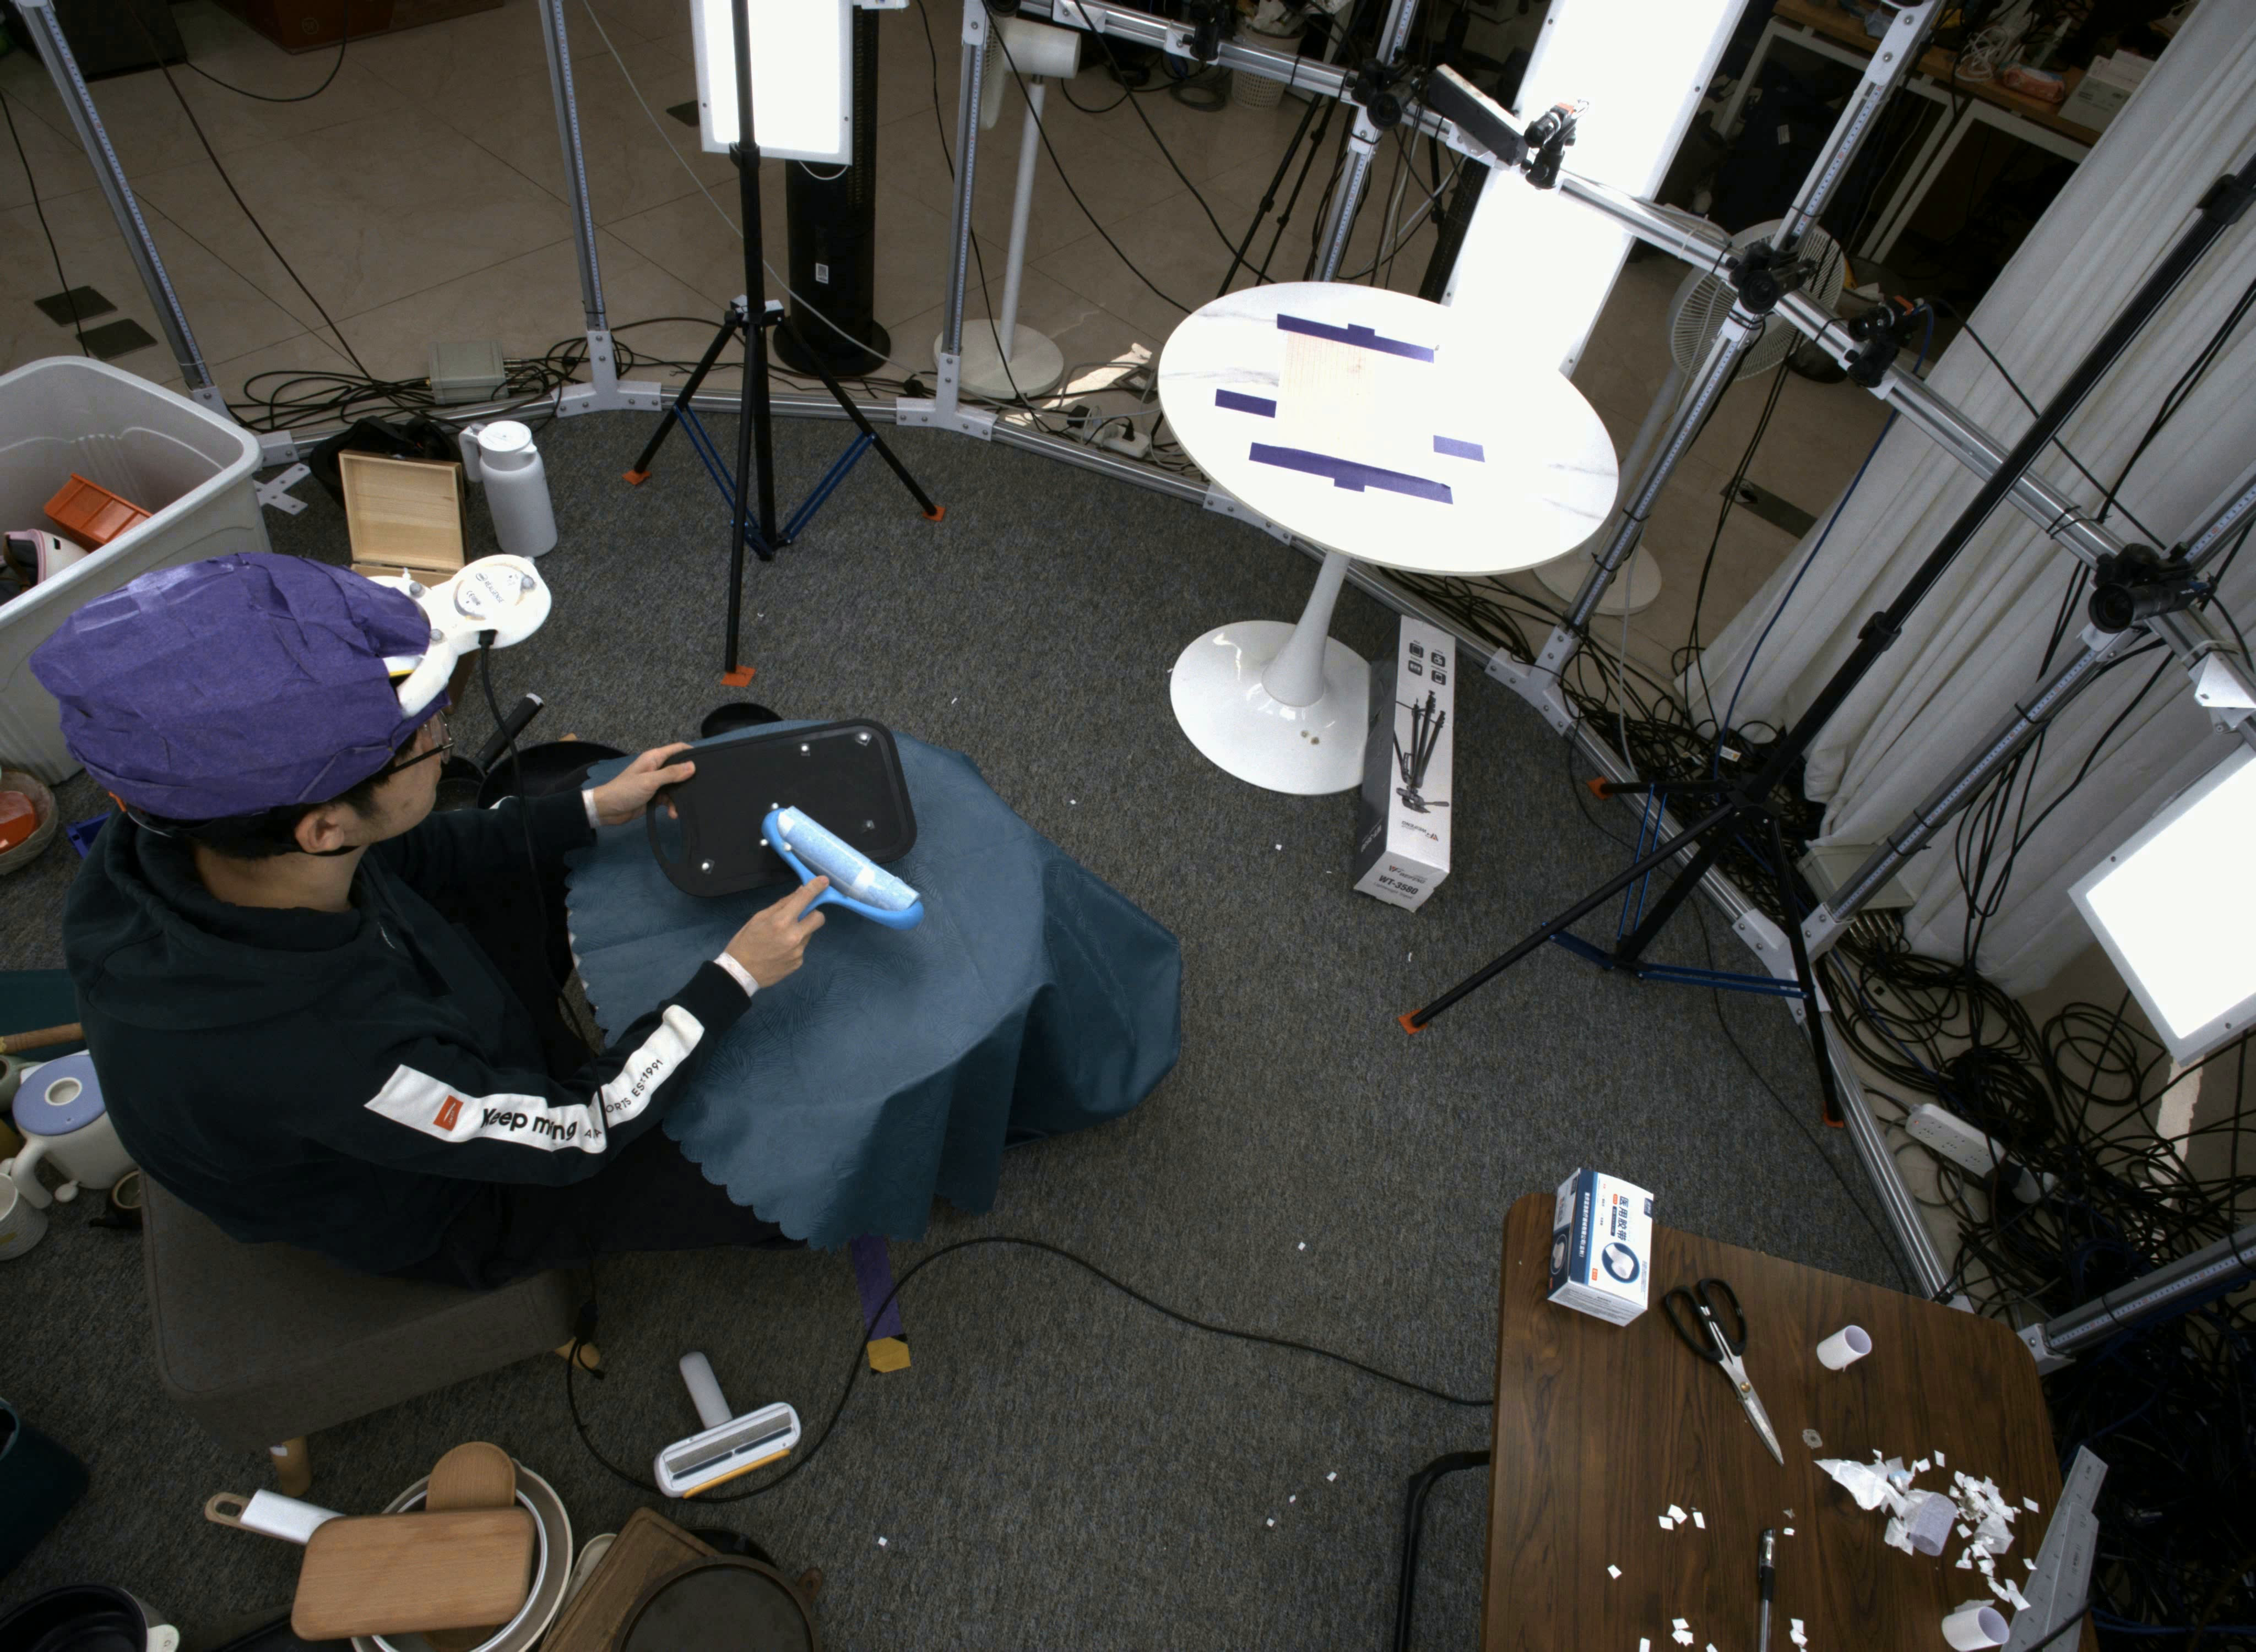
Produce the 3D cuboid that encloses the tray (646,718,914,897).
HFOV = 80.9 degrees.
[{"bbox_3d":[-0.442,-0.027,1.634,0.326,0.010,0.208,-11,70,-18],"label":"tray"}]

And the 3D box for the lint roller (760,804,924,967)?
[{"bbox_3d":[-0.375,0.088,1.559,0.229,0.068,0.179,34,55,-4],"label":"lint roller"}]
